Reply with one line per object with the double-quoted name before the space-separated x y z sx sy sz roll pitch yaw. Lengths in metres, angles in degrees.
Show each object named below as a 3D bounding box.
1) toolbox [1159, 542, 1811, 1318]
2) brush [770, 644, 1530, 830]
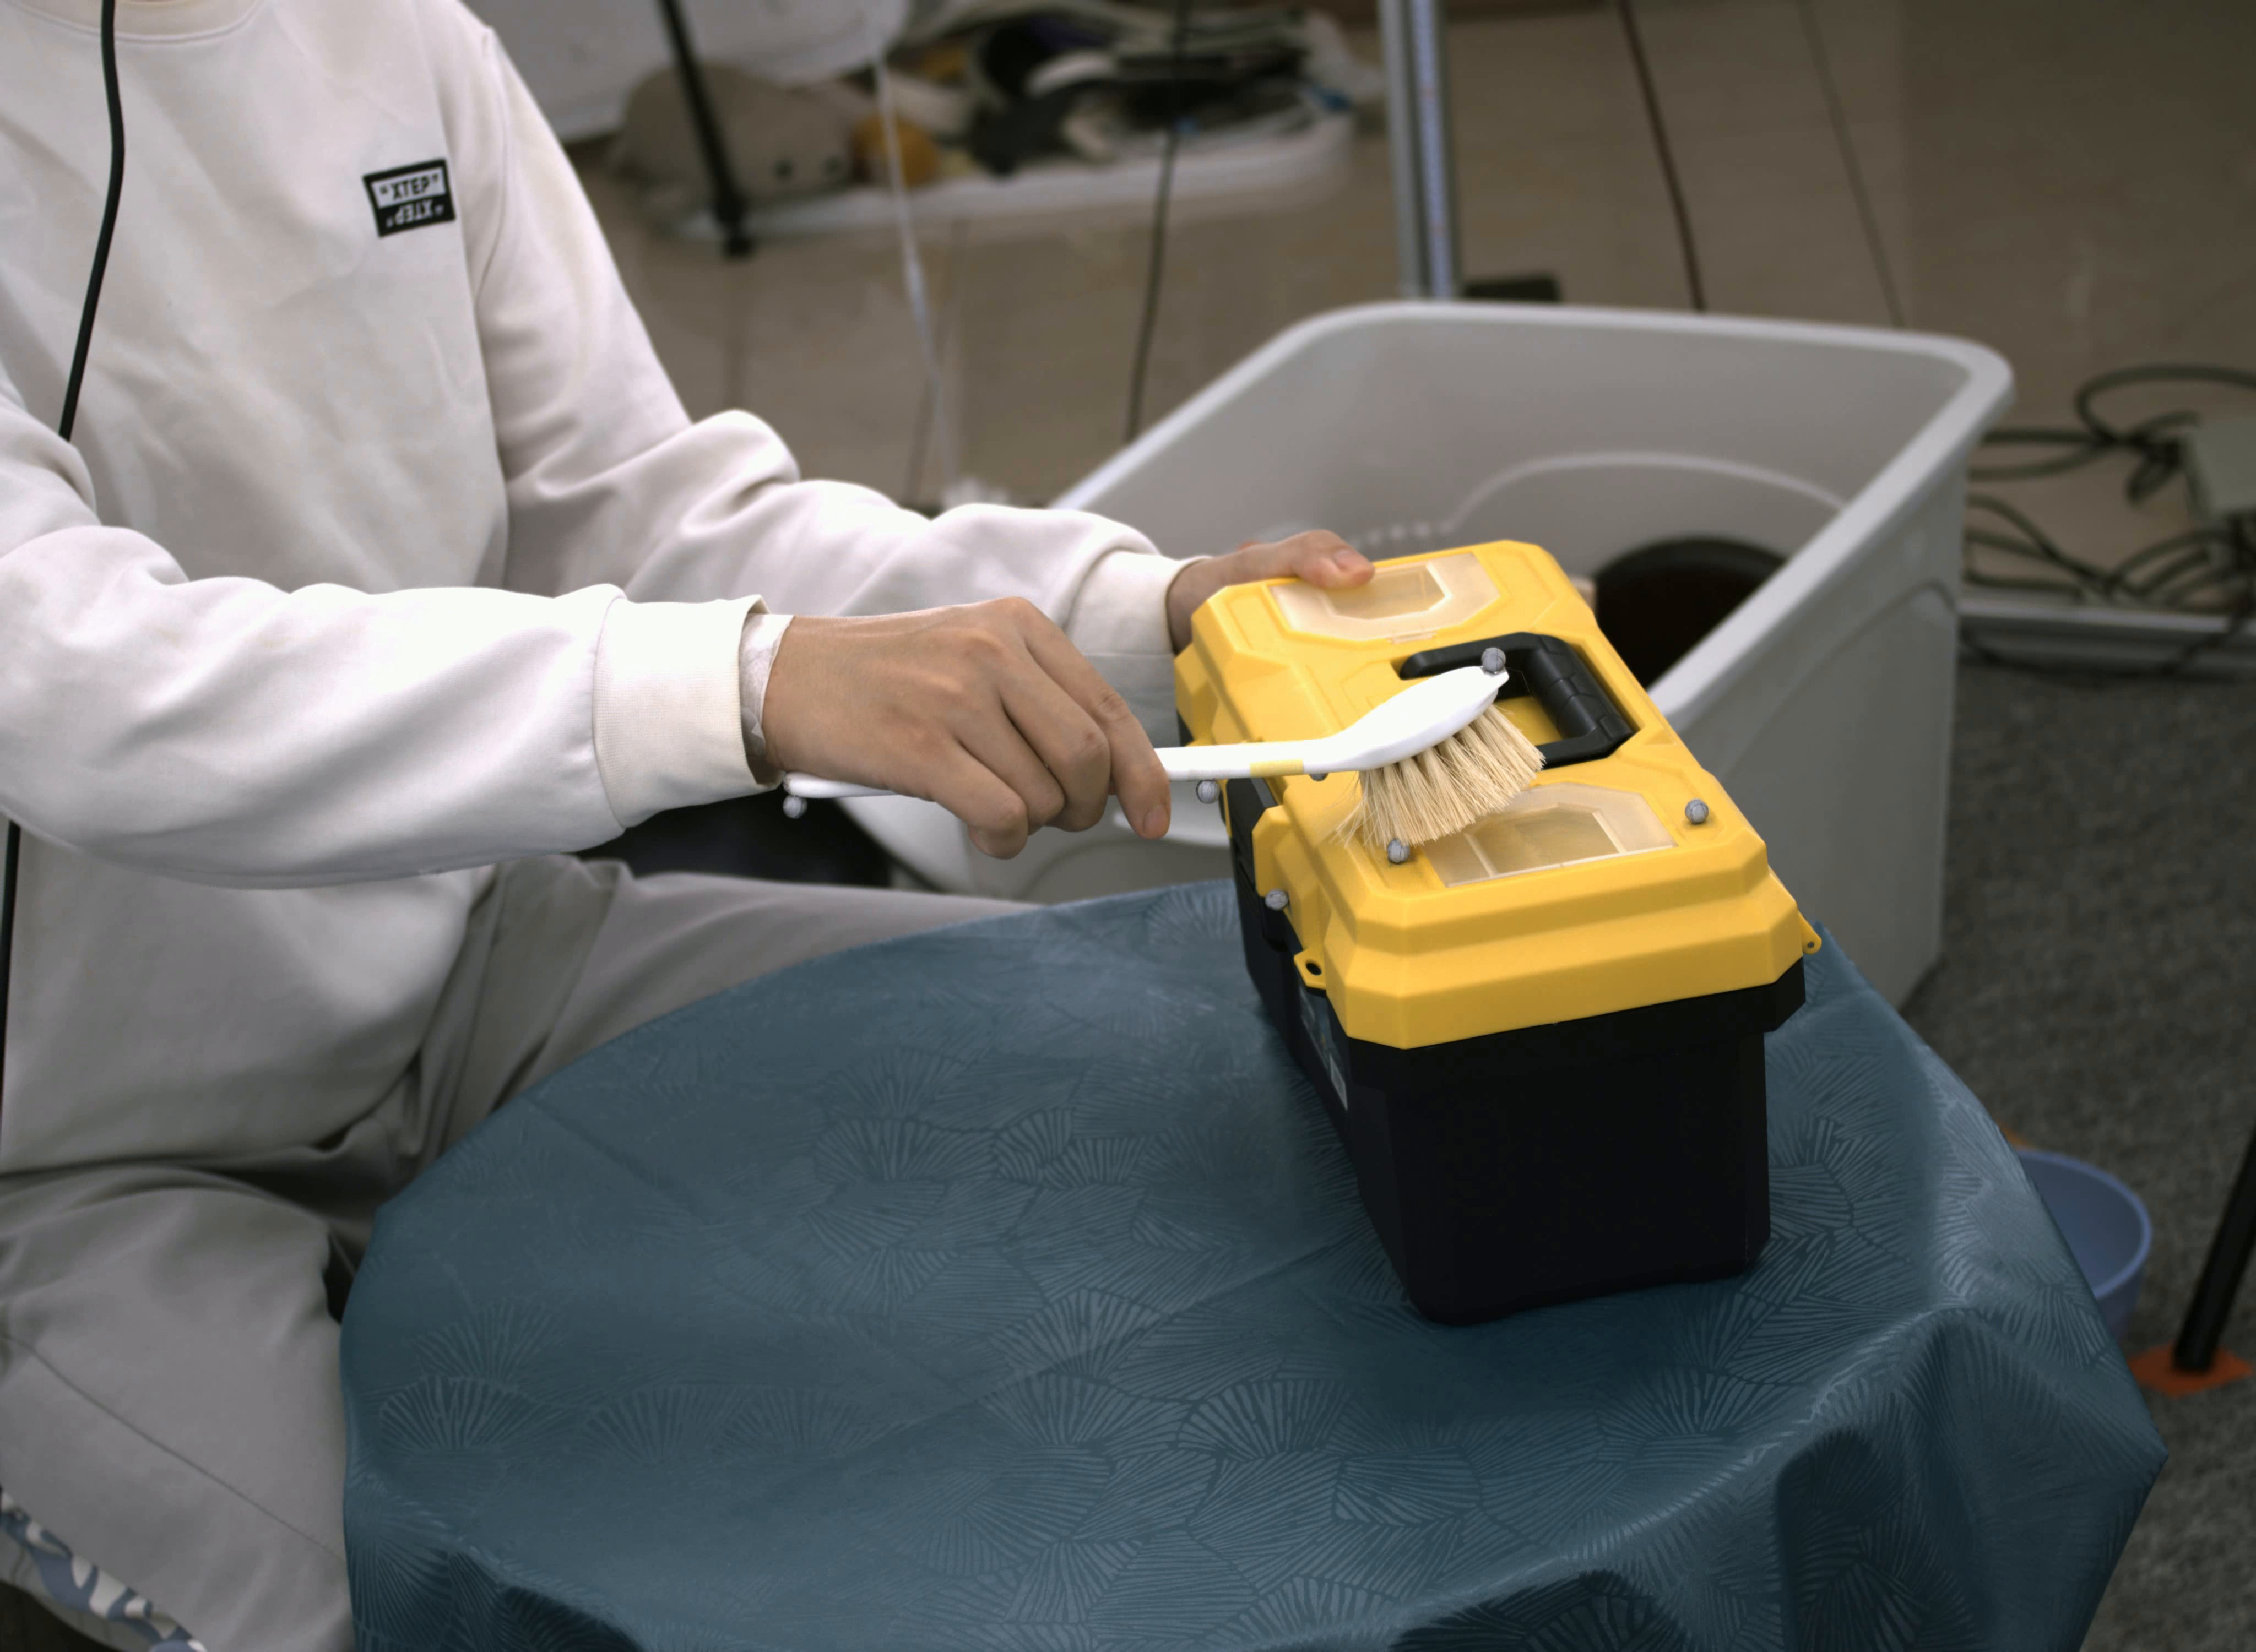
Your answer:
"toolbox" 0.130 0.033 2.133 0.181 0.175 0.346 -9 24 -7
"brush" 0.009 -0.016 1.997 0.266 0.056 0.068 -10 10 -3
